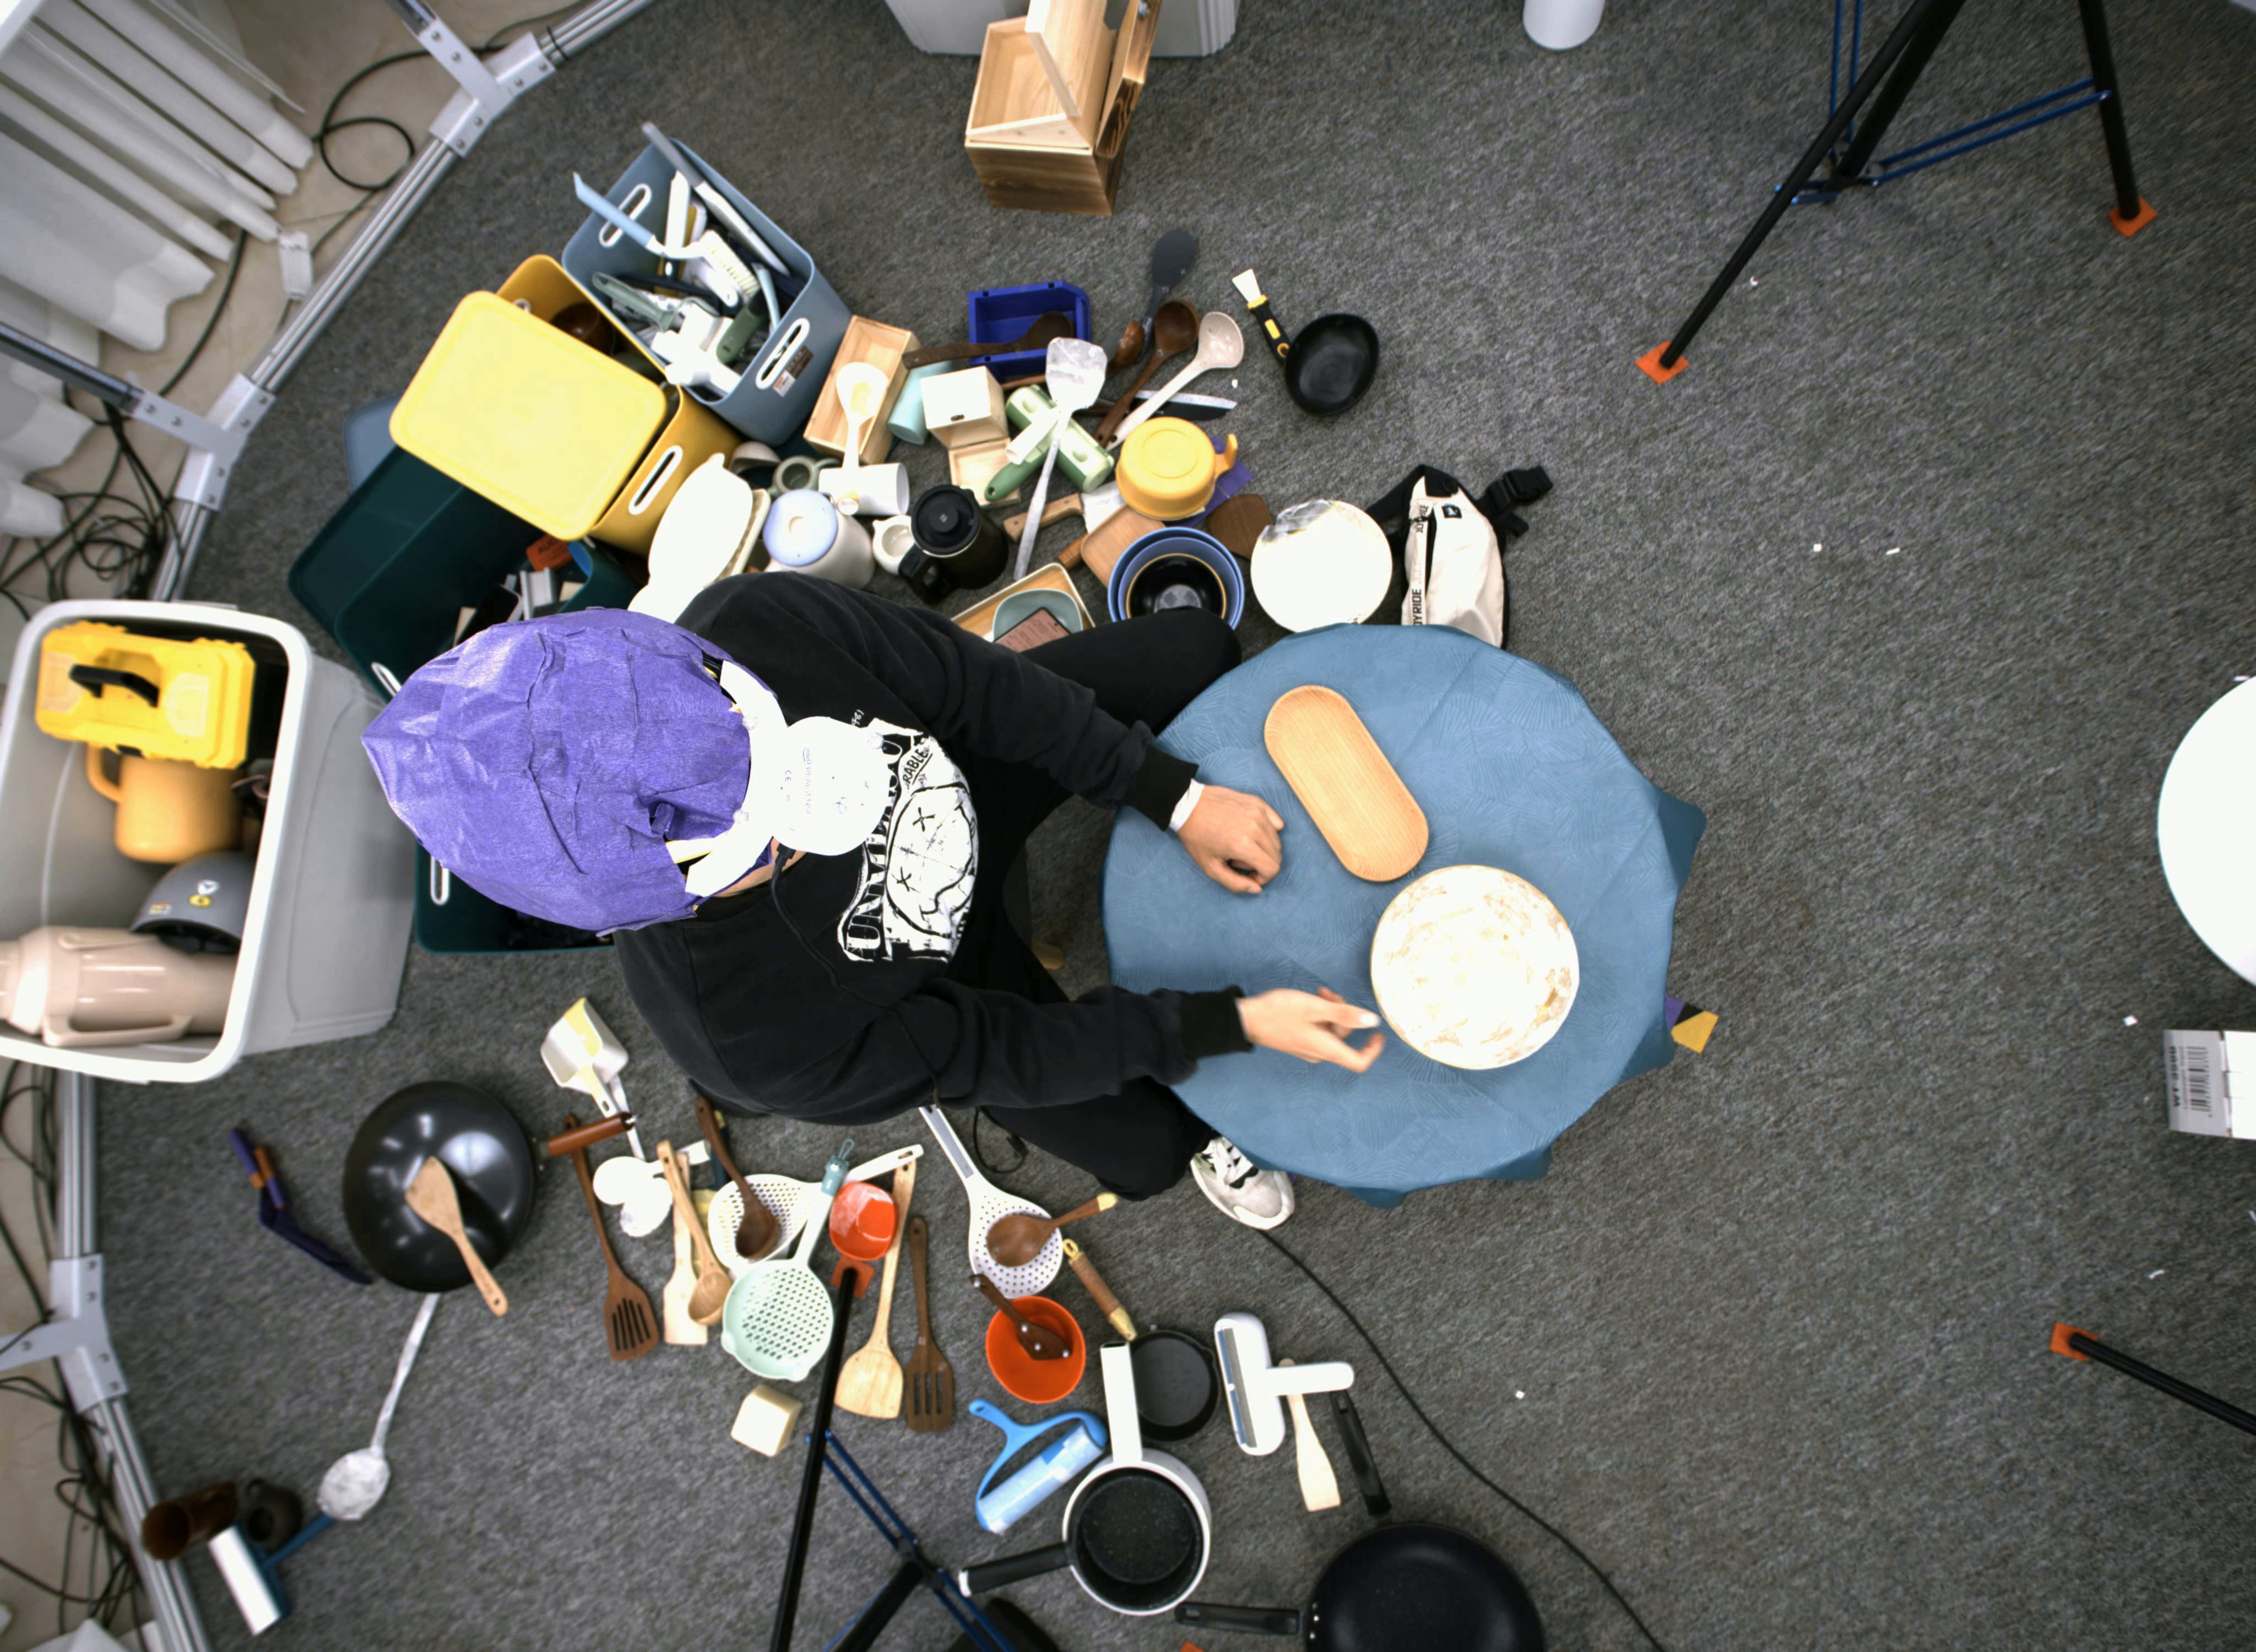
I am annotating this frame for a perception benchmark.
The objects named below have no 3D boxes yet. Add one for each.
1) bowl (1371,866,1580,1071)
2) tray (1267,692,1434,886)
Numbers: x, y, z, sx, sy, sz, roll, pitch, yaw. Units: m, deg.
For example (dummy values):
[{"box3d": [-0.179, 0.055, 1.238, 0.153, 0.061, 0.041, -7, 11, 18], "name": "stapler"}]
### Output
[{"box3d": [0.347, 0.139, 1.399, 0.215, 0.094, 0.214, -1, 87, 11], "name": "bowl"}, {"box3d": [0.237, -0.041, 1.471, 0.102, 0.020, 0.230, -35, 83, 8], "name": "tray"}]
